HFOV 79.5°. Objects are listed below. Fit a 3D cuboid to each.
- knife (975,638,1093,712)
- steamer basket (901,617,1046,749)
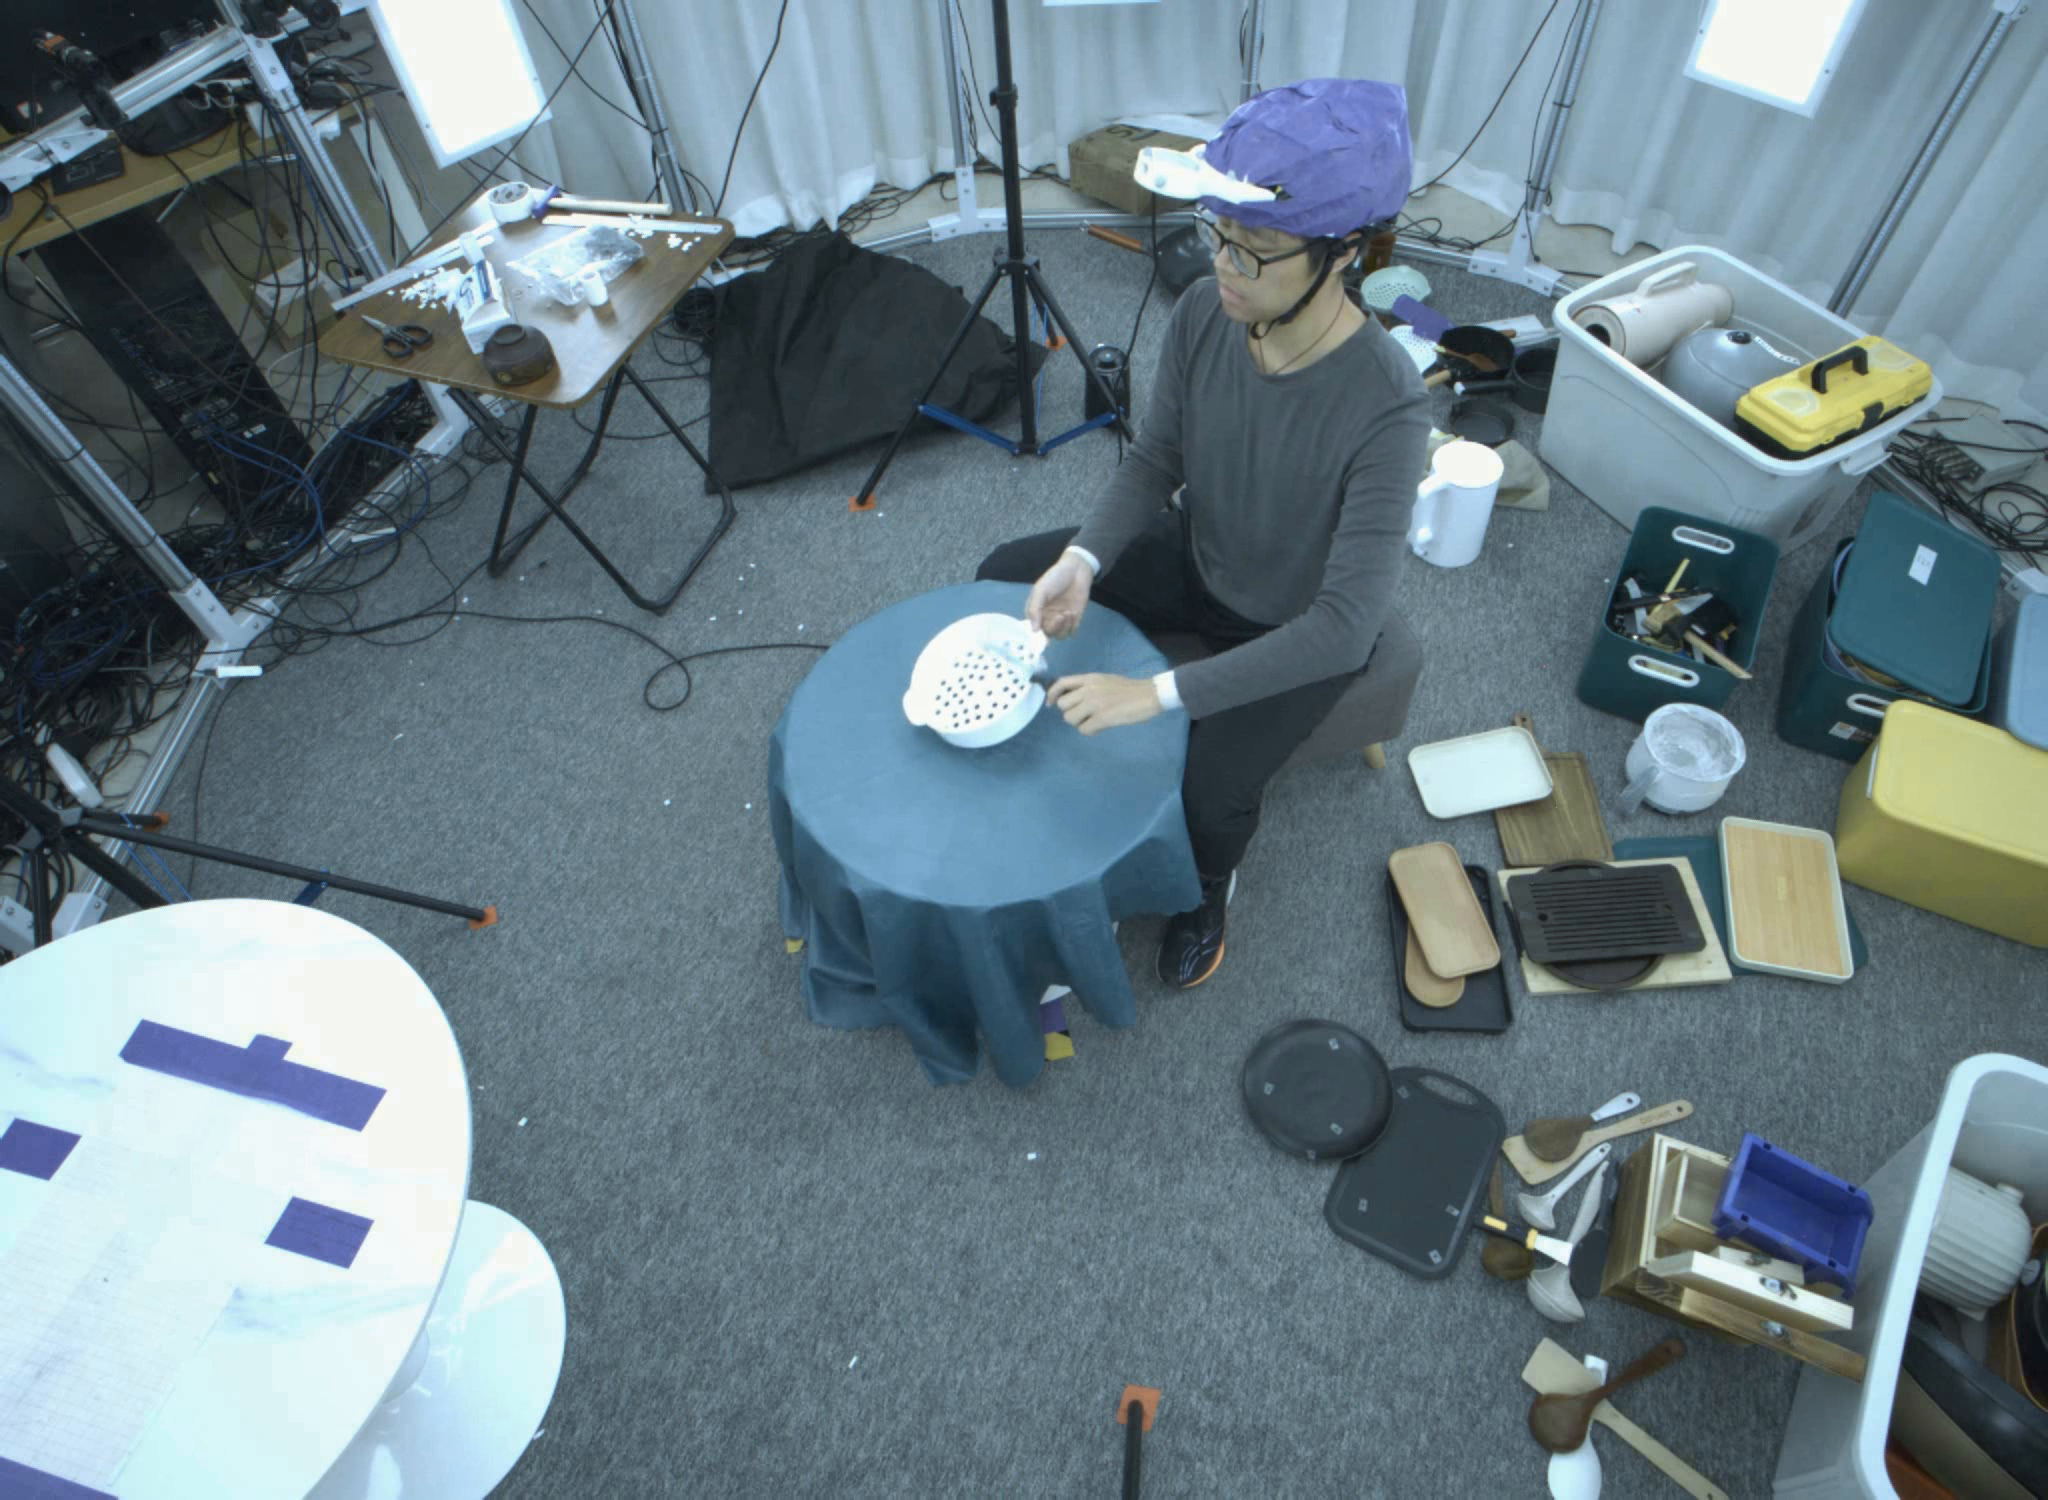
[{"bbox_3d":[0.011,-0.112,1.729,0.233,0.016,0.024,33,77,34],"label":"knife"},{"bbox_3d":[-0.065,-0.096,1.797,0.230,0.070,0.198,-29,55,3],"label":"steamer basket"}]
